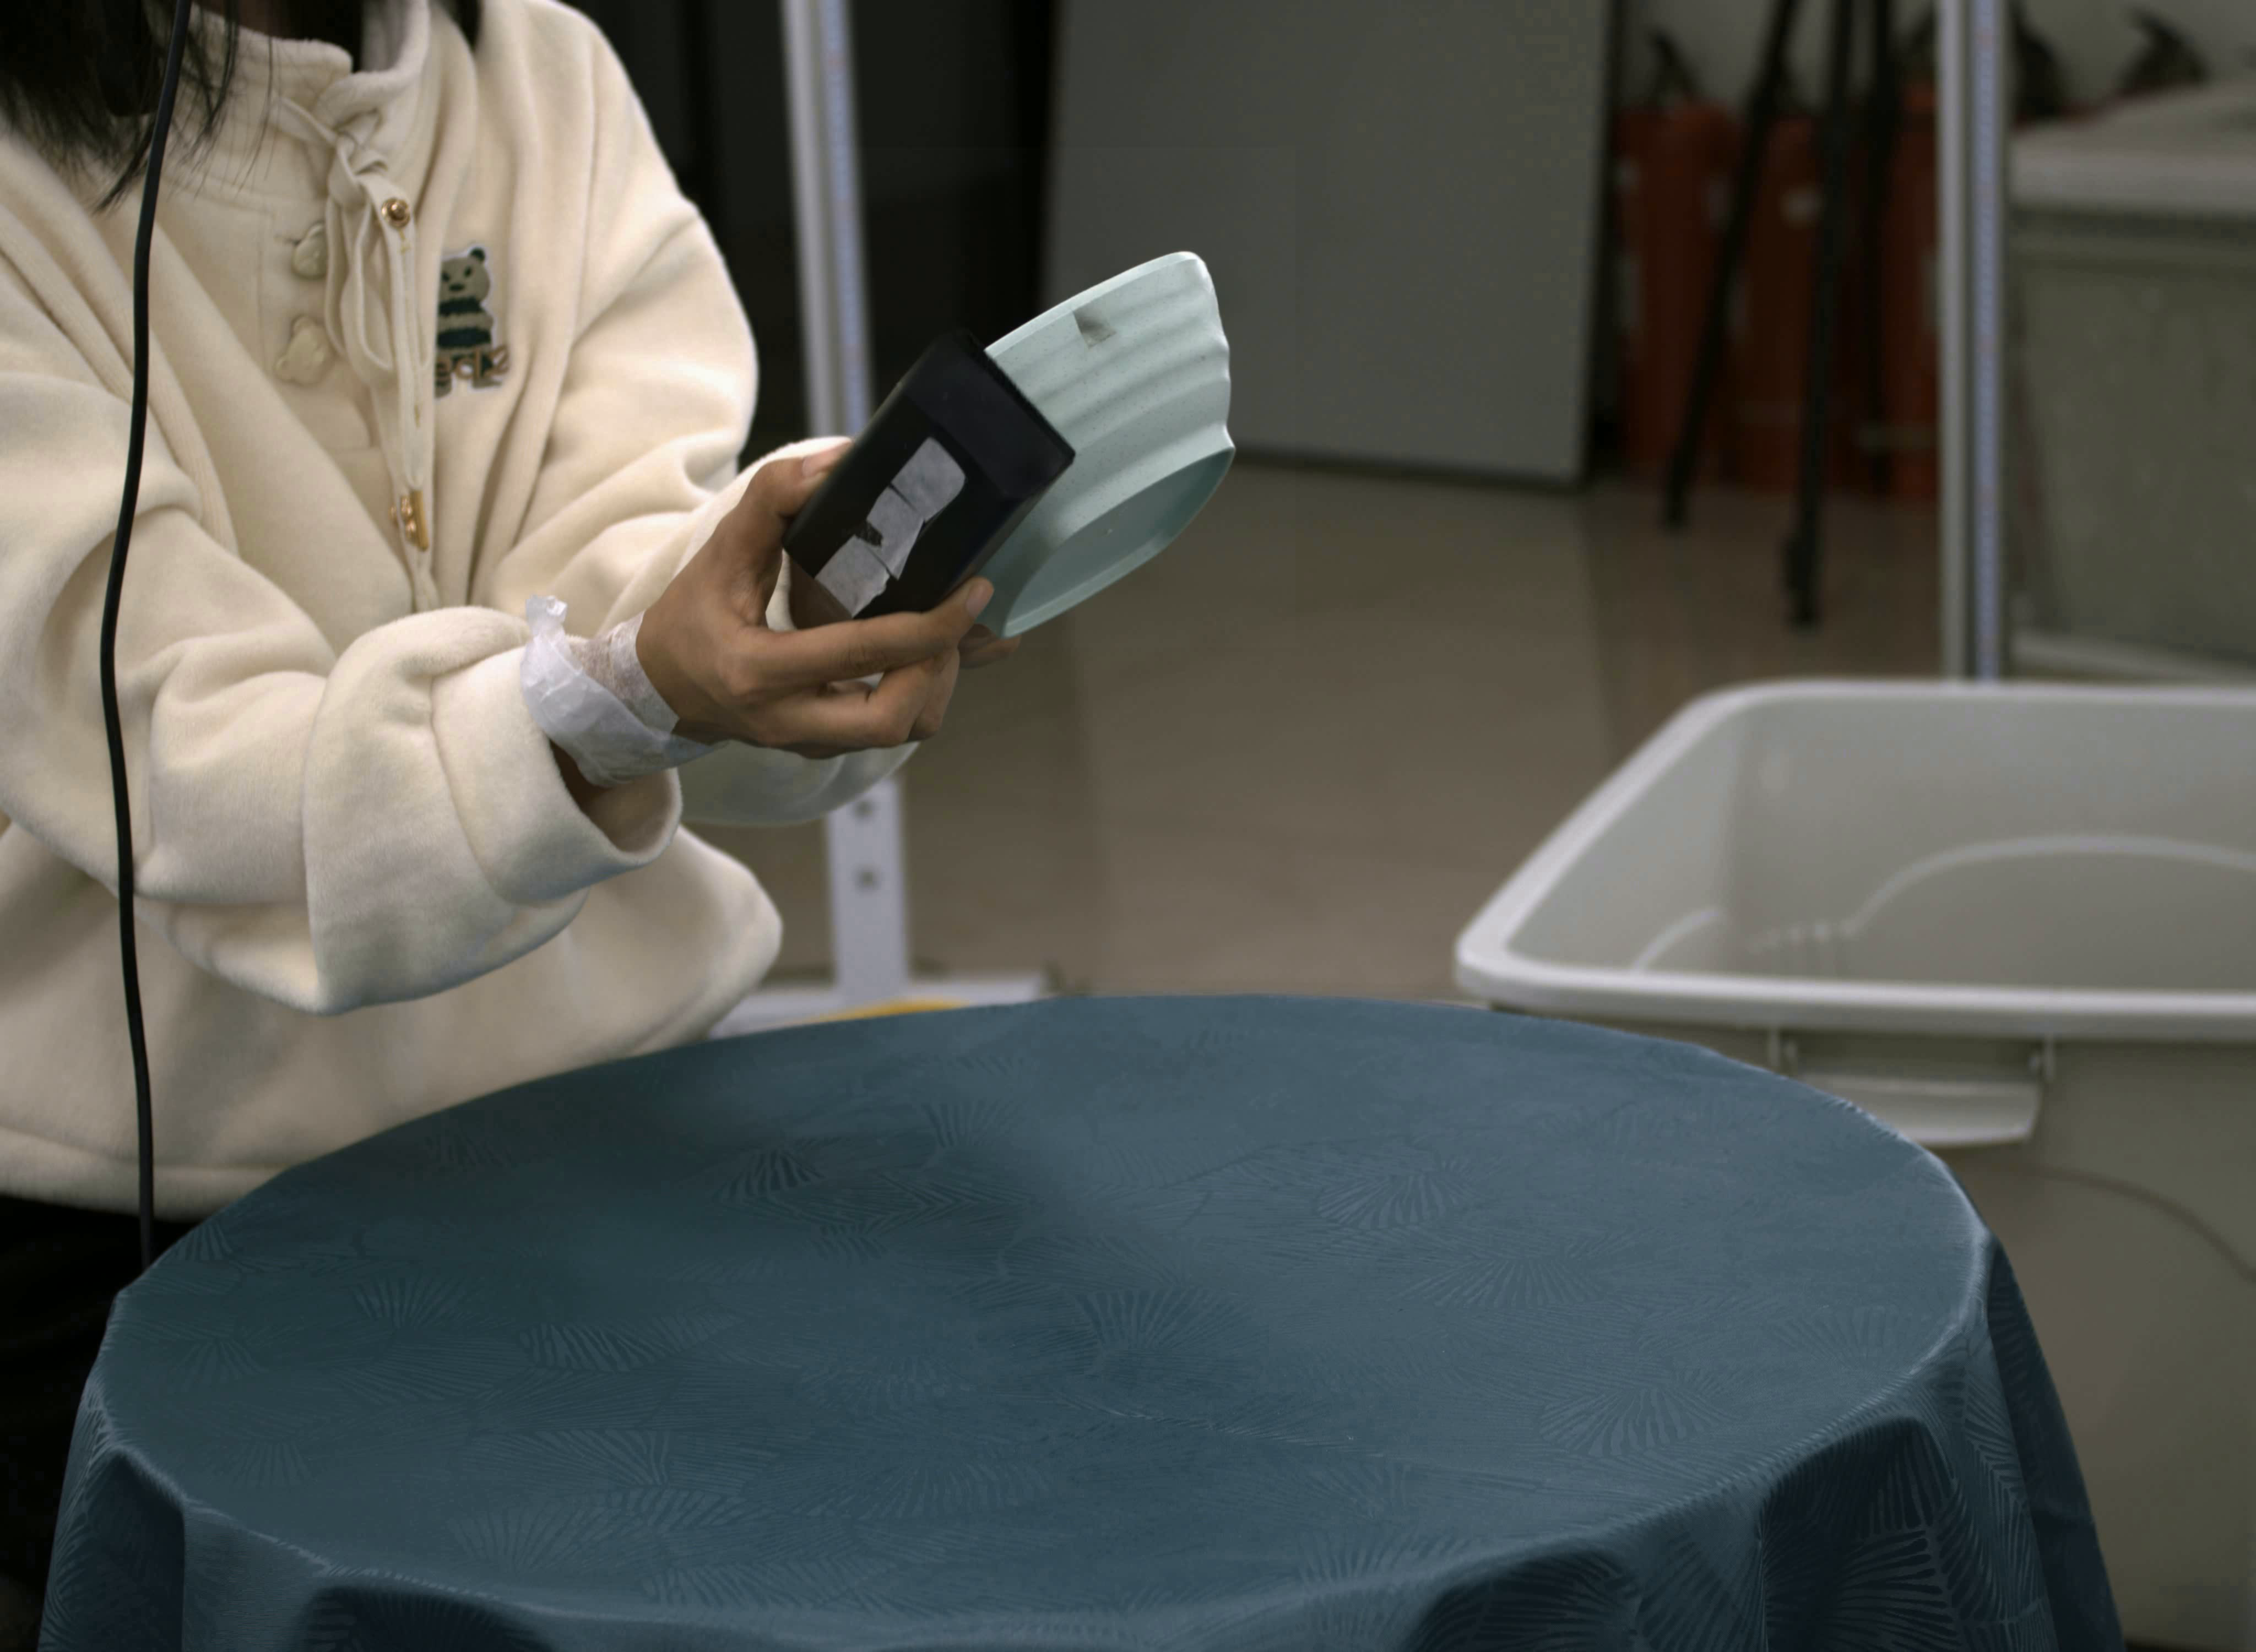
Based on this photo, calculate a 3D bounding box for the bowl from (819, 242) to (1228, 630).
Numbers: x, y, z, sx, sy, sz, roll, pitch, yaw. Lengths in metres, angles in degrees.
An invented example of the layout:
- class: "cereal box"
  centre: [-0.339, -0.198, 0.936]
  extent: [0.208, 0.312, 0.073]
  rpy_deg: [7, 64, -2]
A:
- class: "bowl"
  centre: [-0.022, -0.113, 1.681]
  extent: [0.150, 0.059, 0.151]
  rpy_deg: [-32, -12, -9]

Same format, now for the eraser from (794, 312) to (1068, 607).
- class: "eraser"
  centre: [-0.060, -0.107, 1.599]
  extent: [0.030, 0.053, 0.126]
  rpy_deg: [-50, 3, -23]
